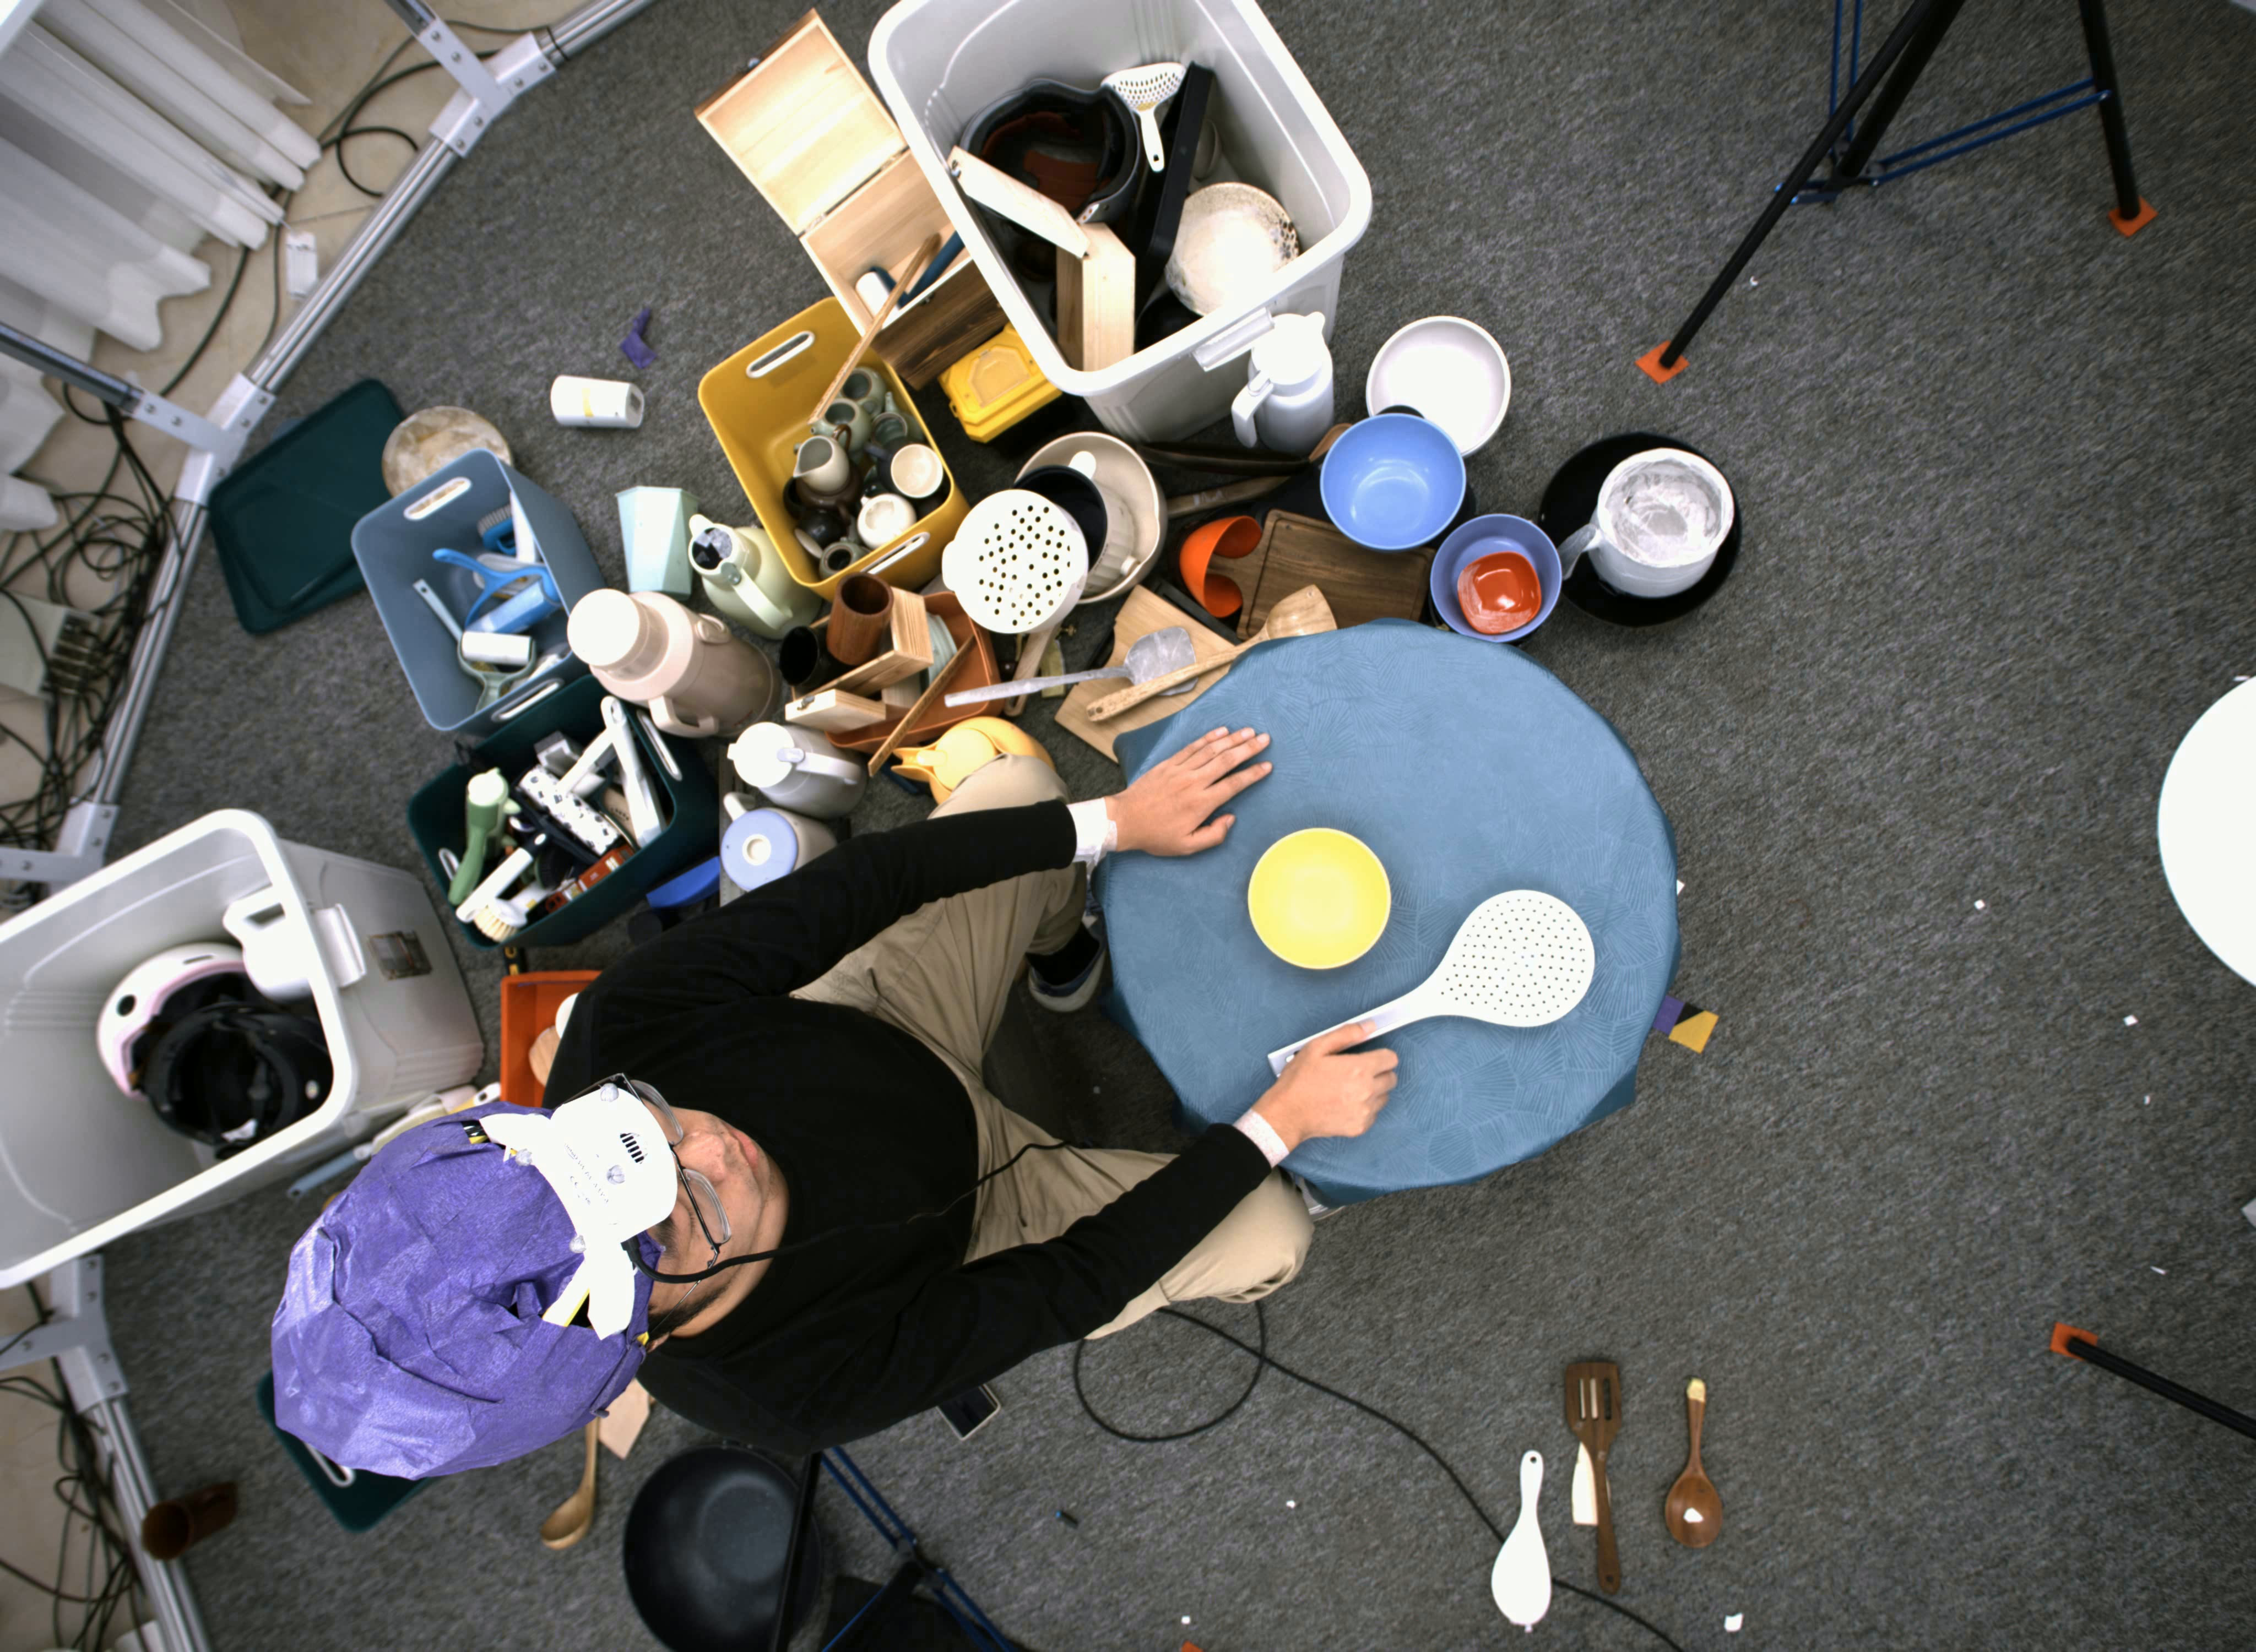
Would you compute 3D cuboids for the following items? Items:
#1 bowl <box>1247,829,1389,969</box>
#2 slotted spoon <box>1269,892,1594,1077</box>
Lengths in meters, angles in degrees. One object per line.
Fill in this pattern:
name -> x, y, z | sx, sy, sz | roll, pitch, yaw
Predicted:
bowl -> 0.198, 0.078, 1.445 | 0.146, 0.060, 0.144 | -1, 85, 9
slotted spoon -> 0.308, 0.179, 1.424 | 0.352, 0.045, 0.135 | -25, 84, 9
